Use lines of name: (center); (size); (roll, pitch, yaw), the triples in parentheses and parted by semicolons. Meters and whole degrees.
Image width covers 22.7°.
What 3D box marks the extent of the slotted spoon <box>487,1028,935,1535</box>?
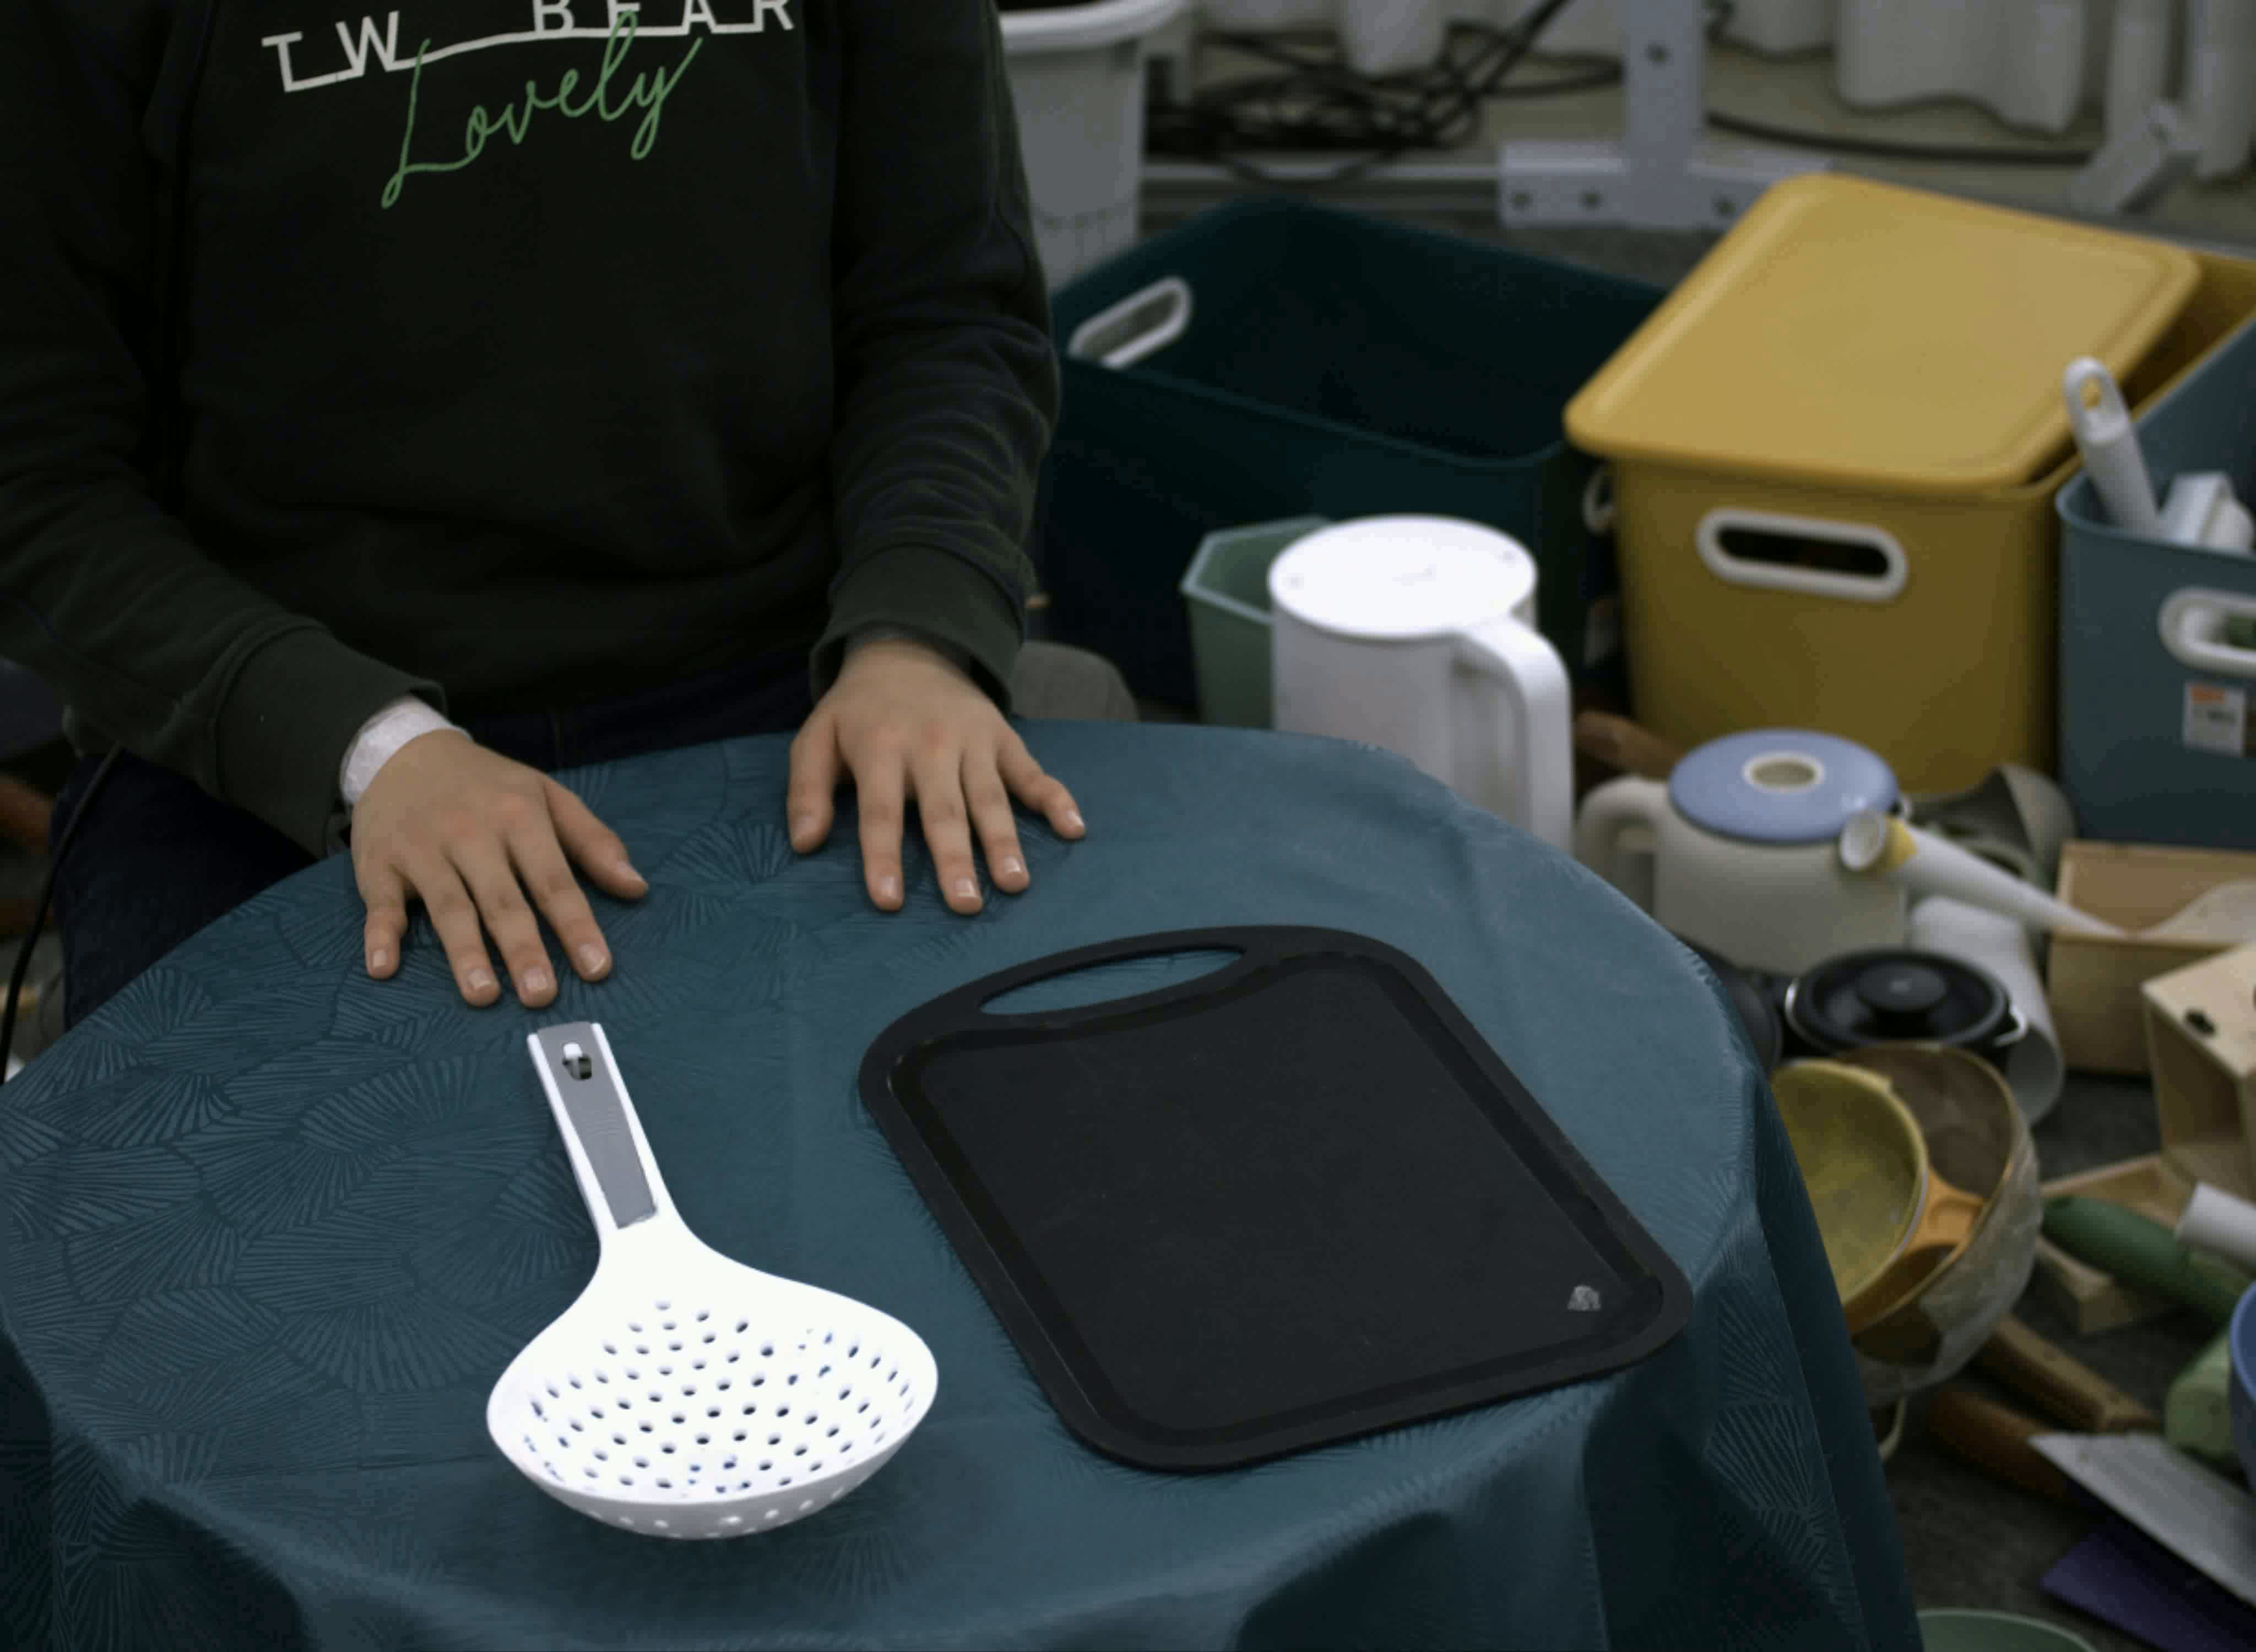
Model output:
slotted spoon: (-0.152, 0.139, 1.794); (0.136, 0.045, 0.353); (-7, 27, -12)

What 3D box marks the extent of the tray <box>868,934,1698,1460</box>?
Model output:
tray: (0.041, 0.113, 1.866); (0.211, 0.009, 0.328); (-11, 28, -16)
